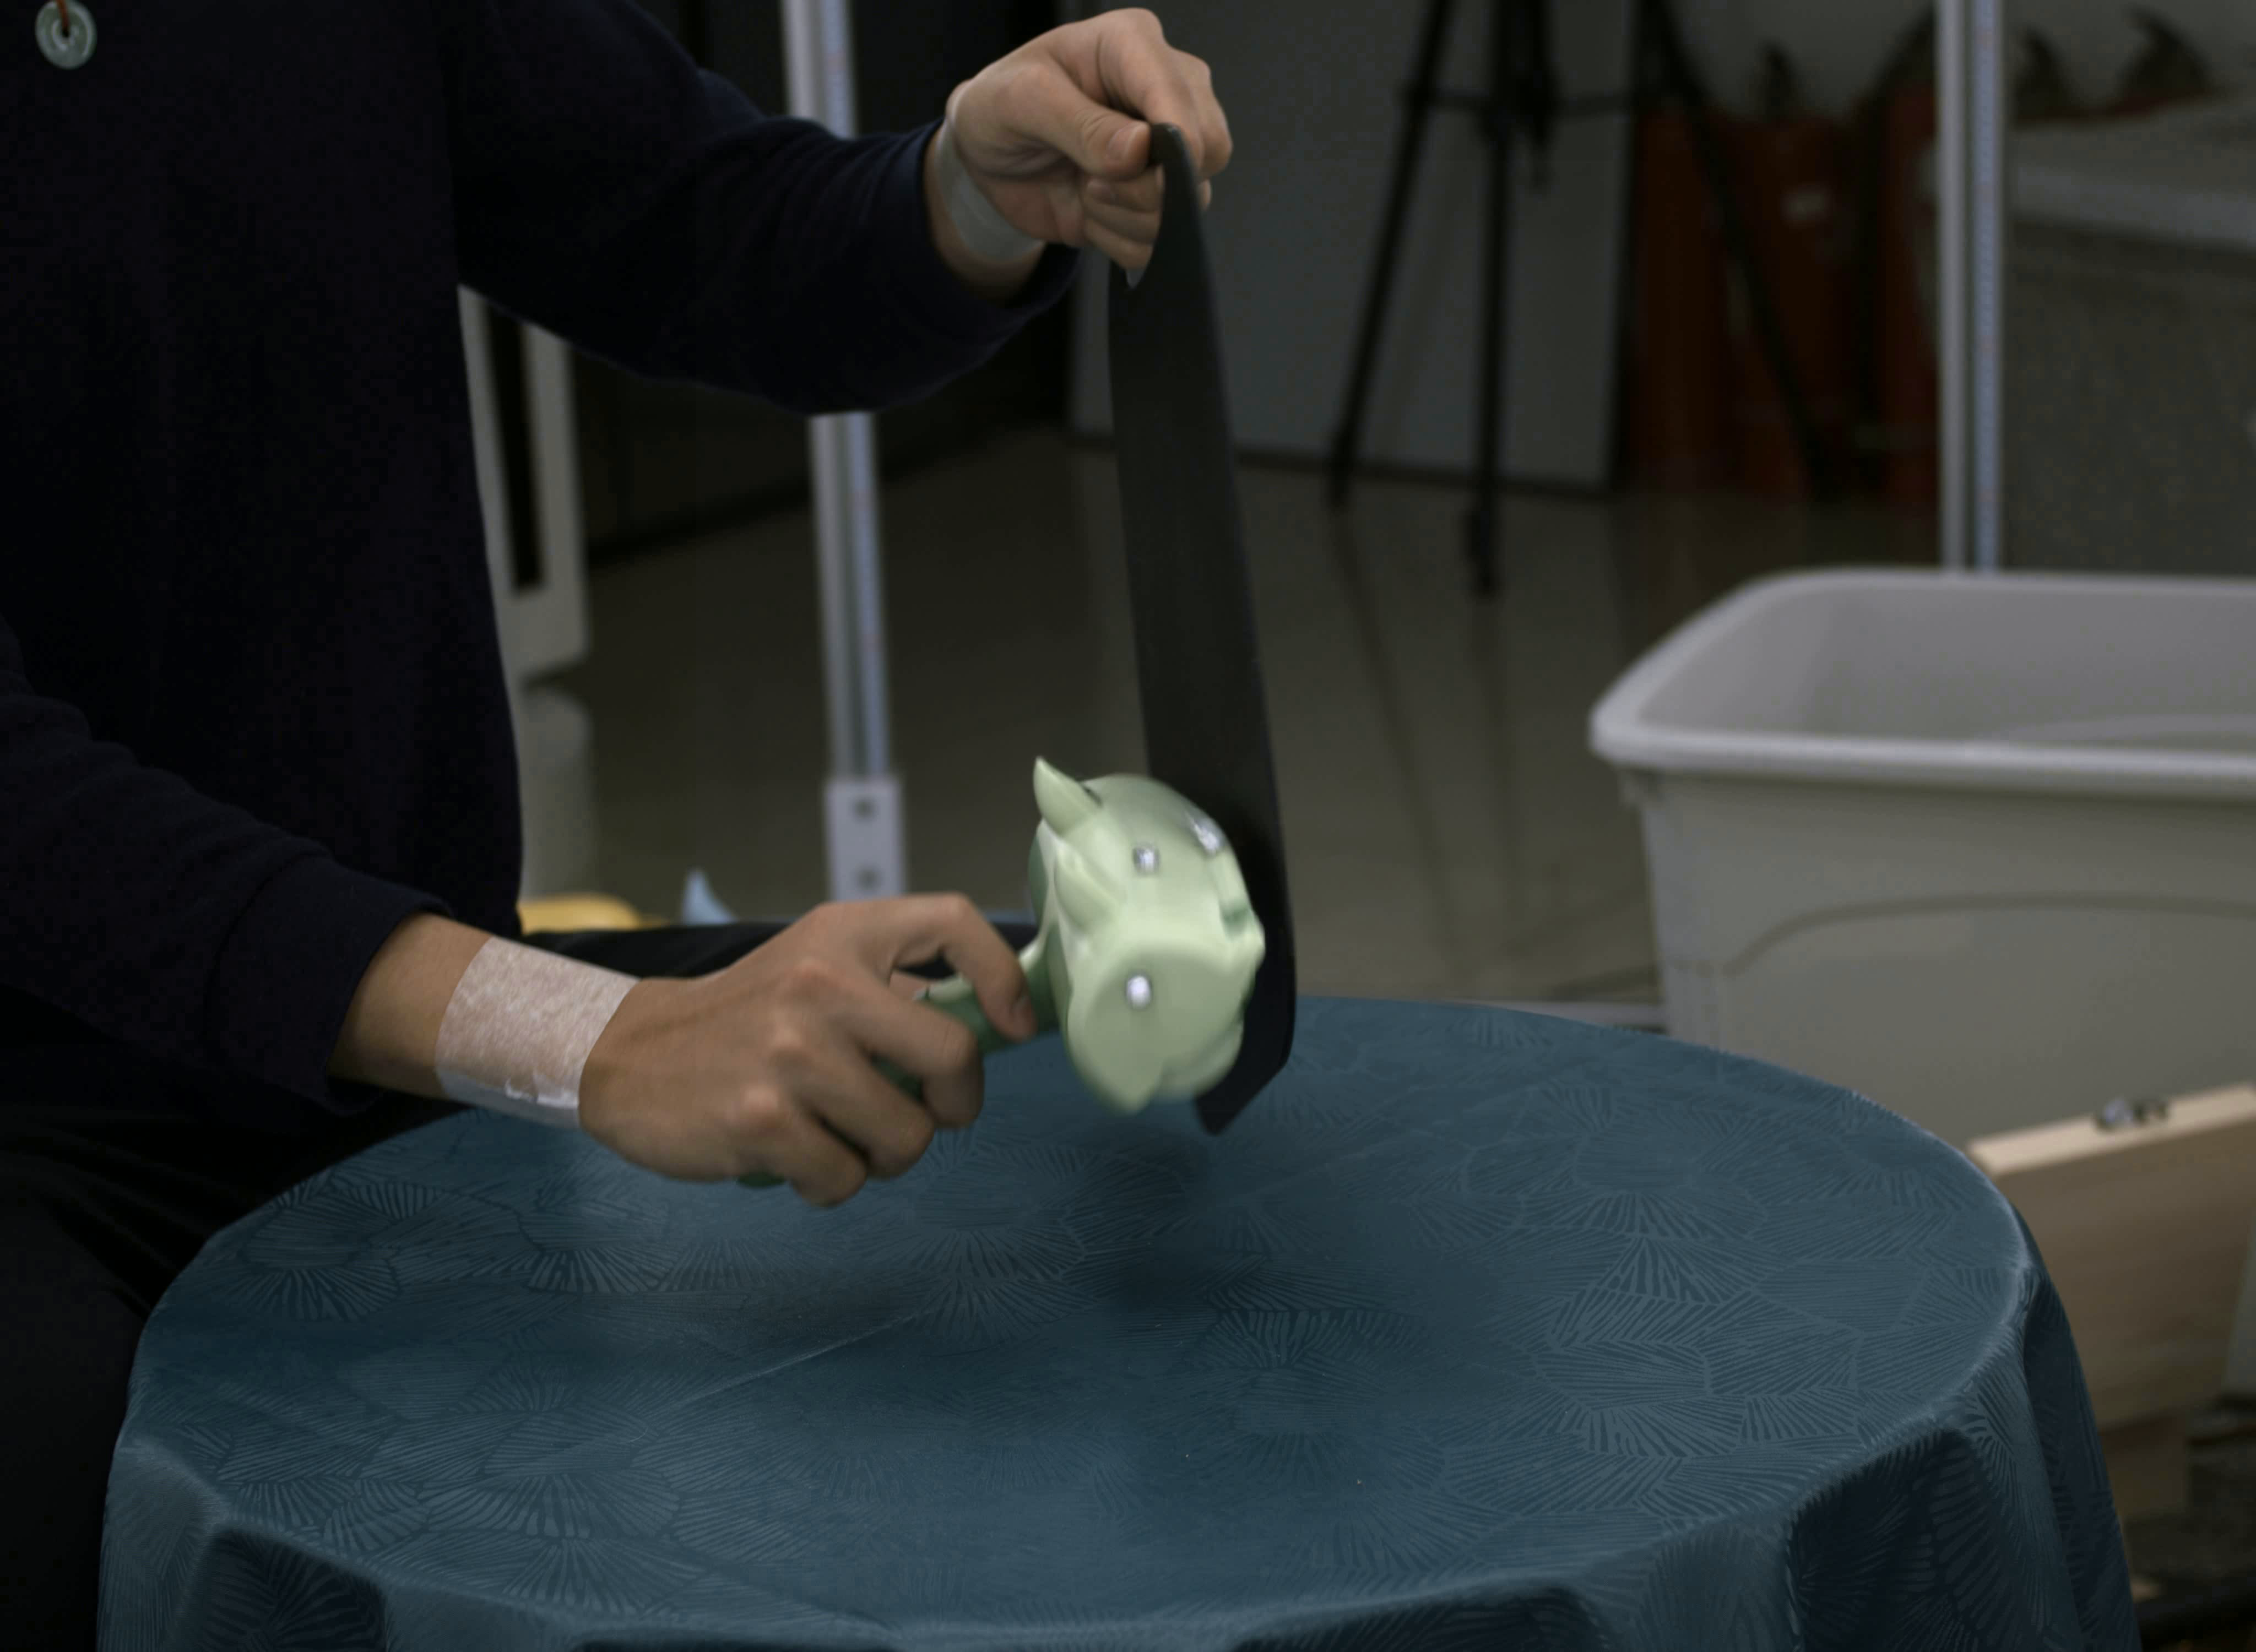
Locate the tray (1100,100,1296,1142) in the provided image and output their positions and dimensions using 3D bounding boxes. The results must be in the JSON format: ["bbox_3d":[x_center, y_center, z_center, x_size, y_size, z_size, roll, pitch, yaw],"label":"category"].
[{"bbox_3d":[0.021,-0.070,1.760,0.009,0.330,0.212,-5,-14,-8],"label":"tray"}]

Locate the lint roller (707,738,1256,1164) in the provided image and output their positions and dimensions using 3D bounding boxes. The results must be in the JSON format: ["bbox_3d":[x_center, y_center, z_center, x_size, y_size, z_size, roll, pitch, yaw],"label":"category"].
[{"bbox_3d":[-0.053,0.037,1.646,0.181,0.083,0.199,-20,12,1],"label":"lint roller"}]
